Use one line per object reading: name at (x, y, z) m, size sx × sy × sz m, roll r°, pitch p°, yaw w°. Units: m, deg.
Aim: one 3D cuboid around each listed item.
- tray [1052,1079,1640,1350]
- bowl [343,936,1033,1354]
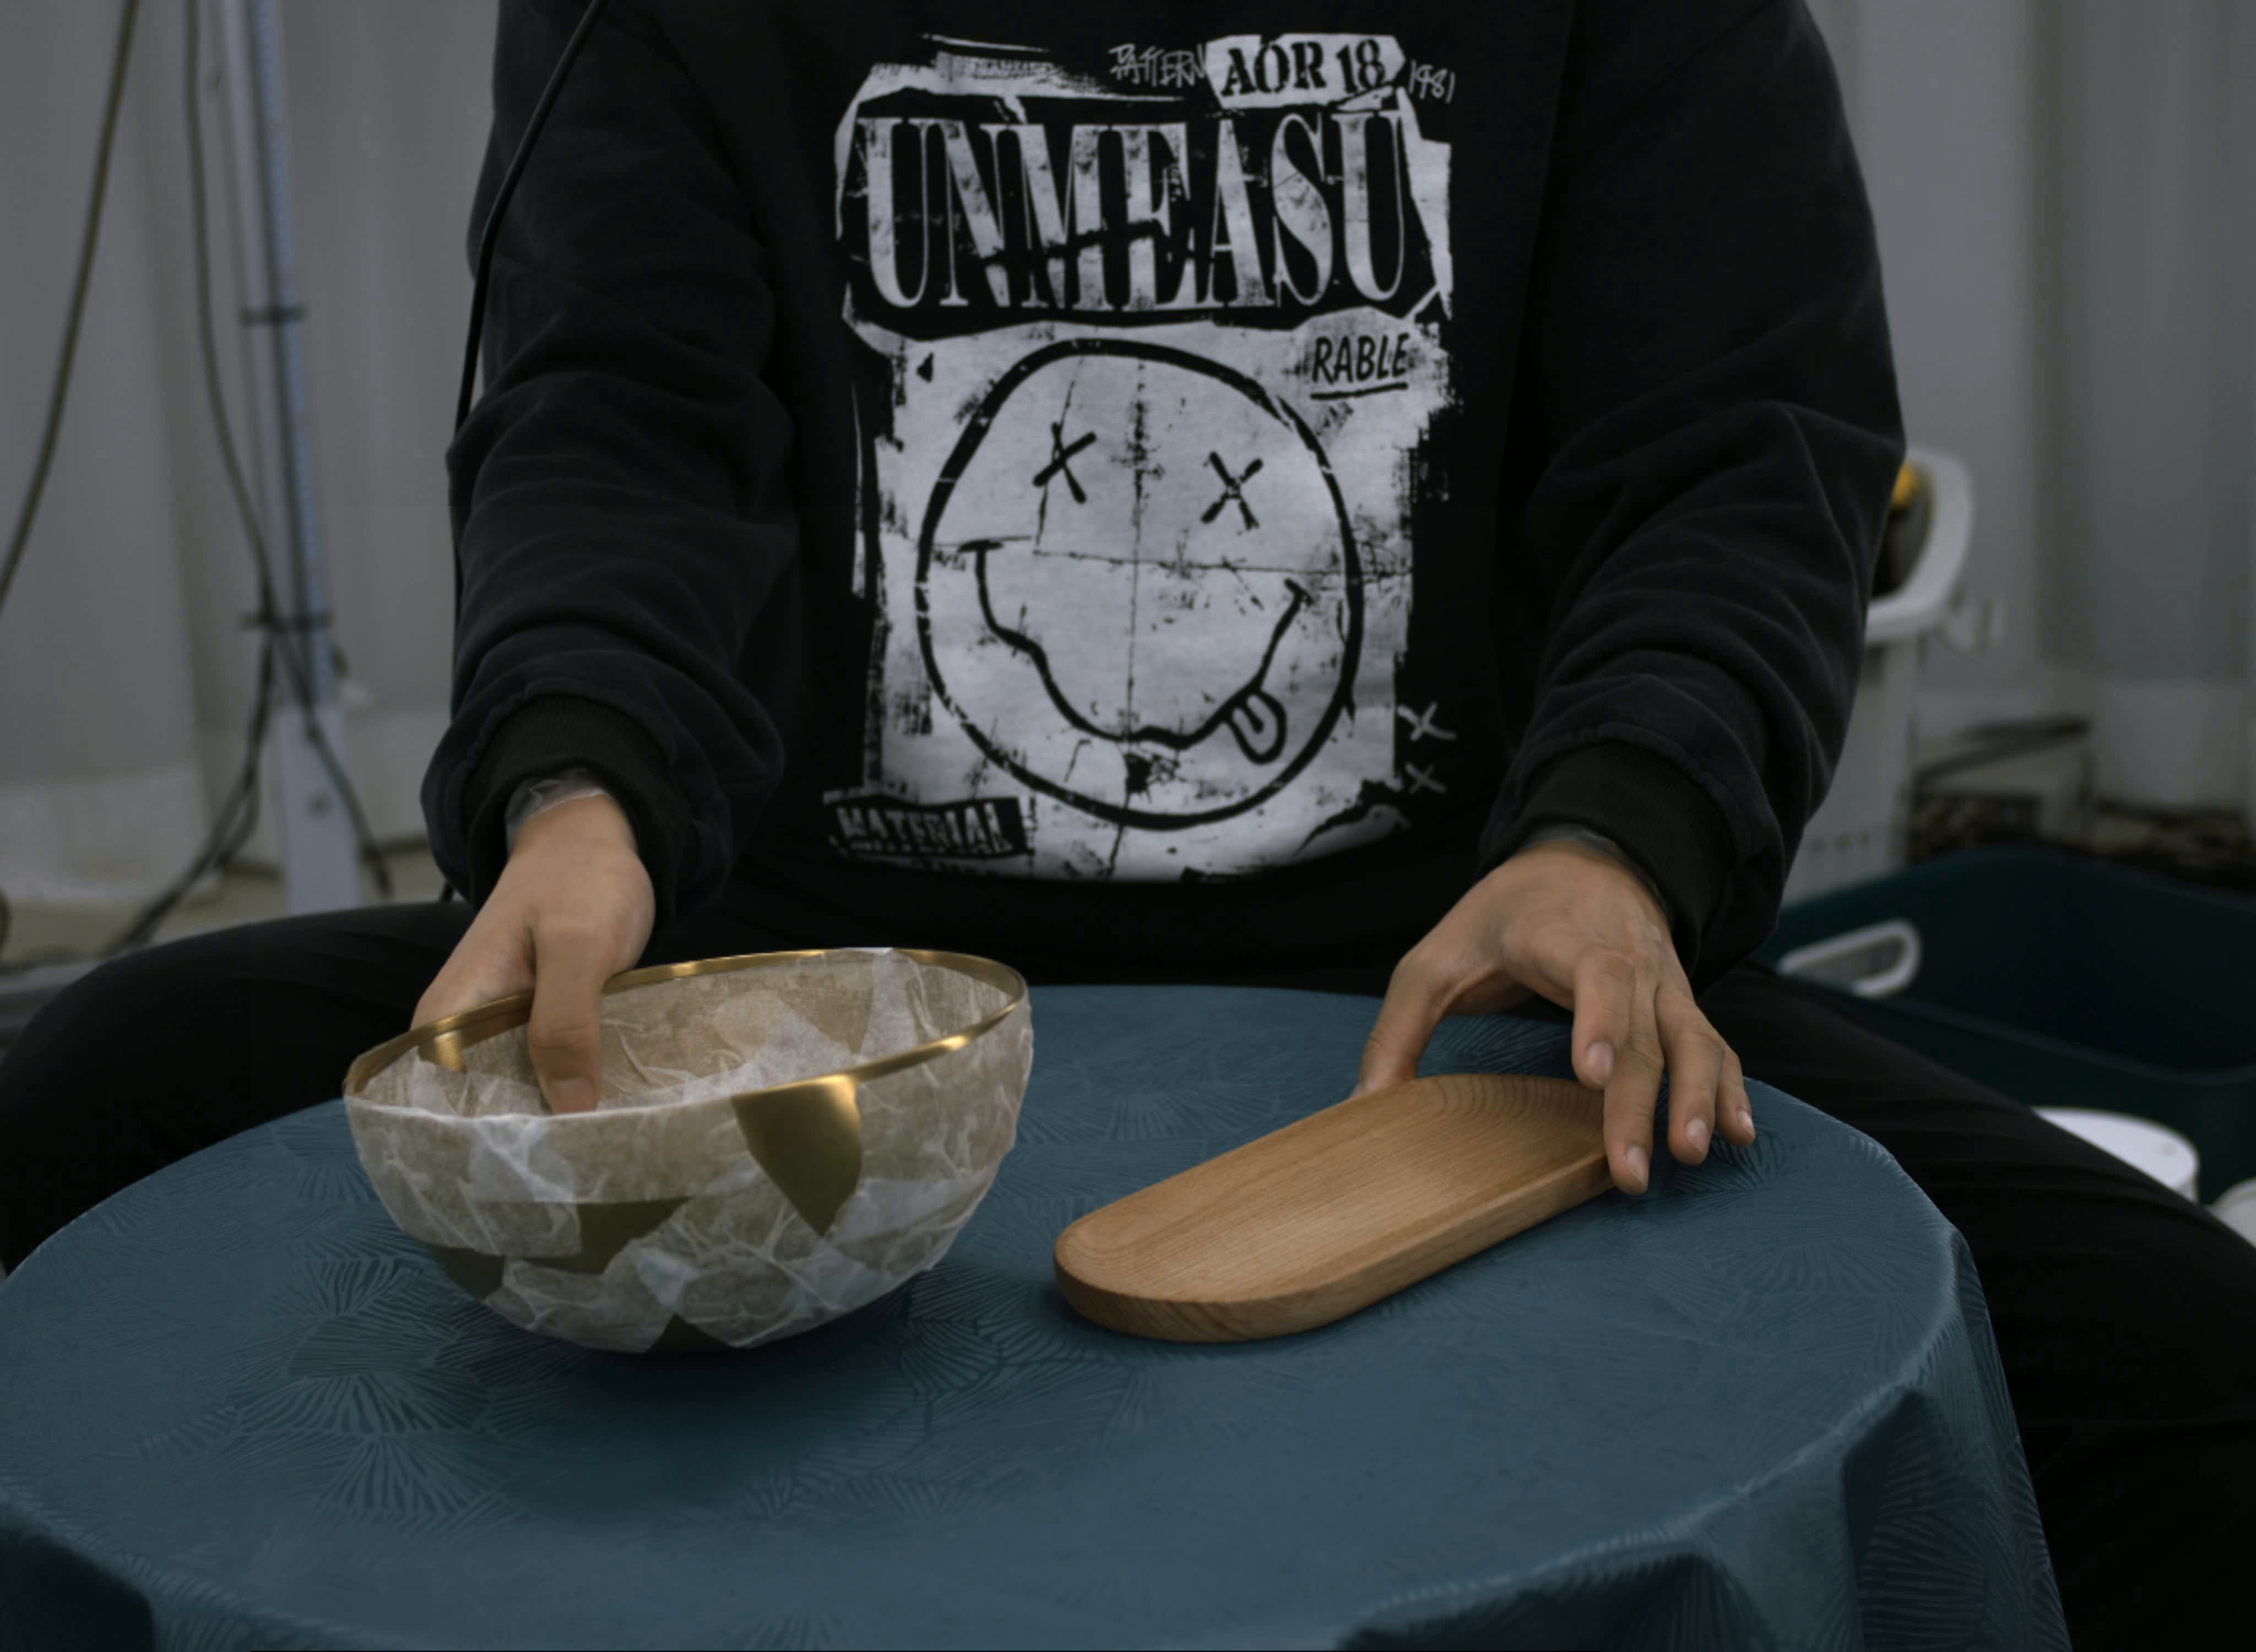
tray at (0.069, 0.117, 1.665) m, size 0.102 × 0.020 × 0.231 m, roll 8°, pitch 19°, yaw 39°
bowl at (-0.119, 0.101, 1.602) m, size 0.214 × 0.094 × 0.215 m, roll -8°, pitch 9°, yaw 1°
